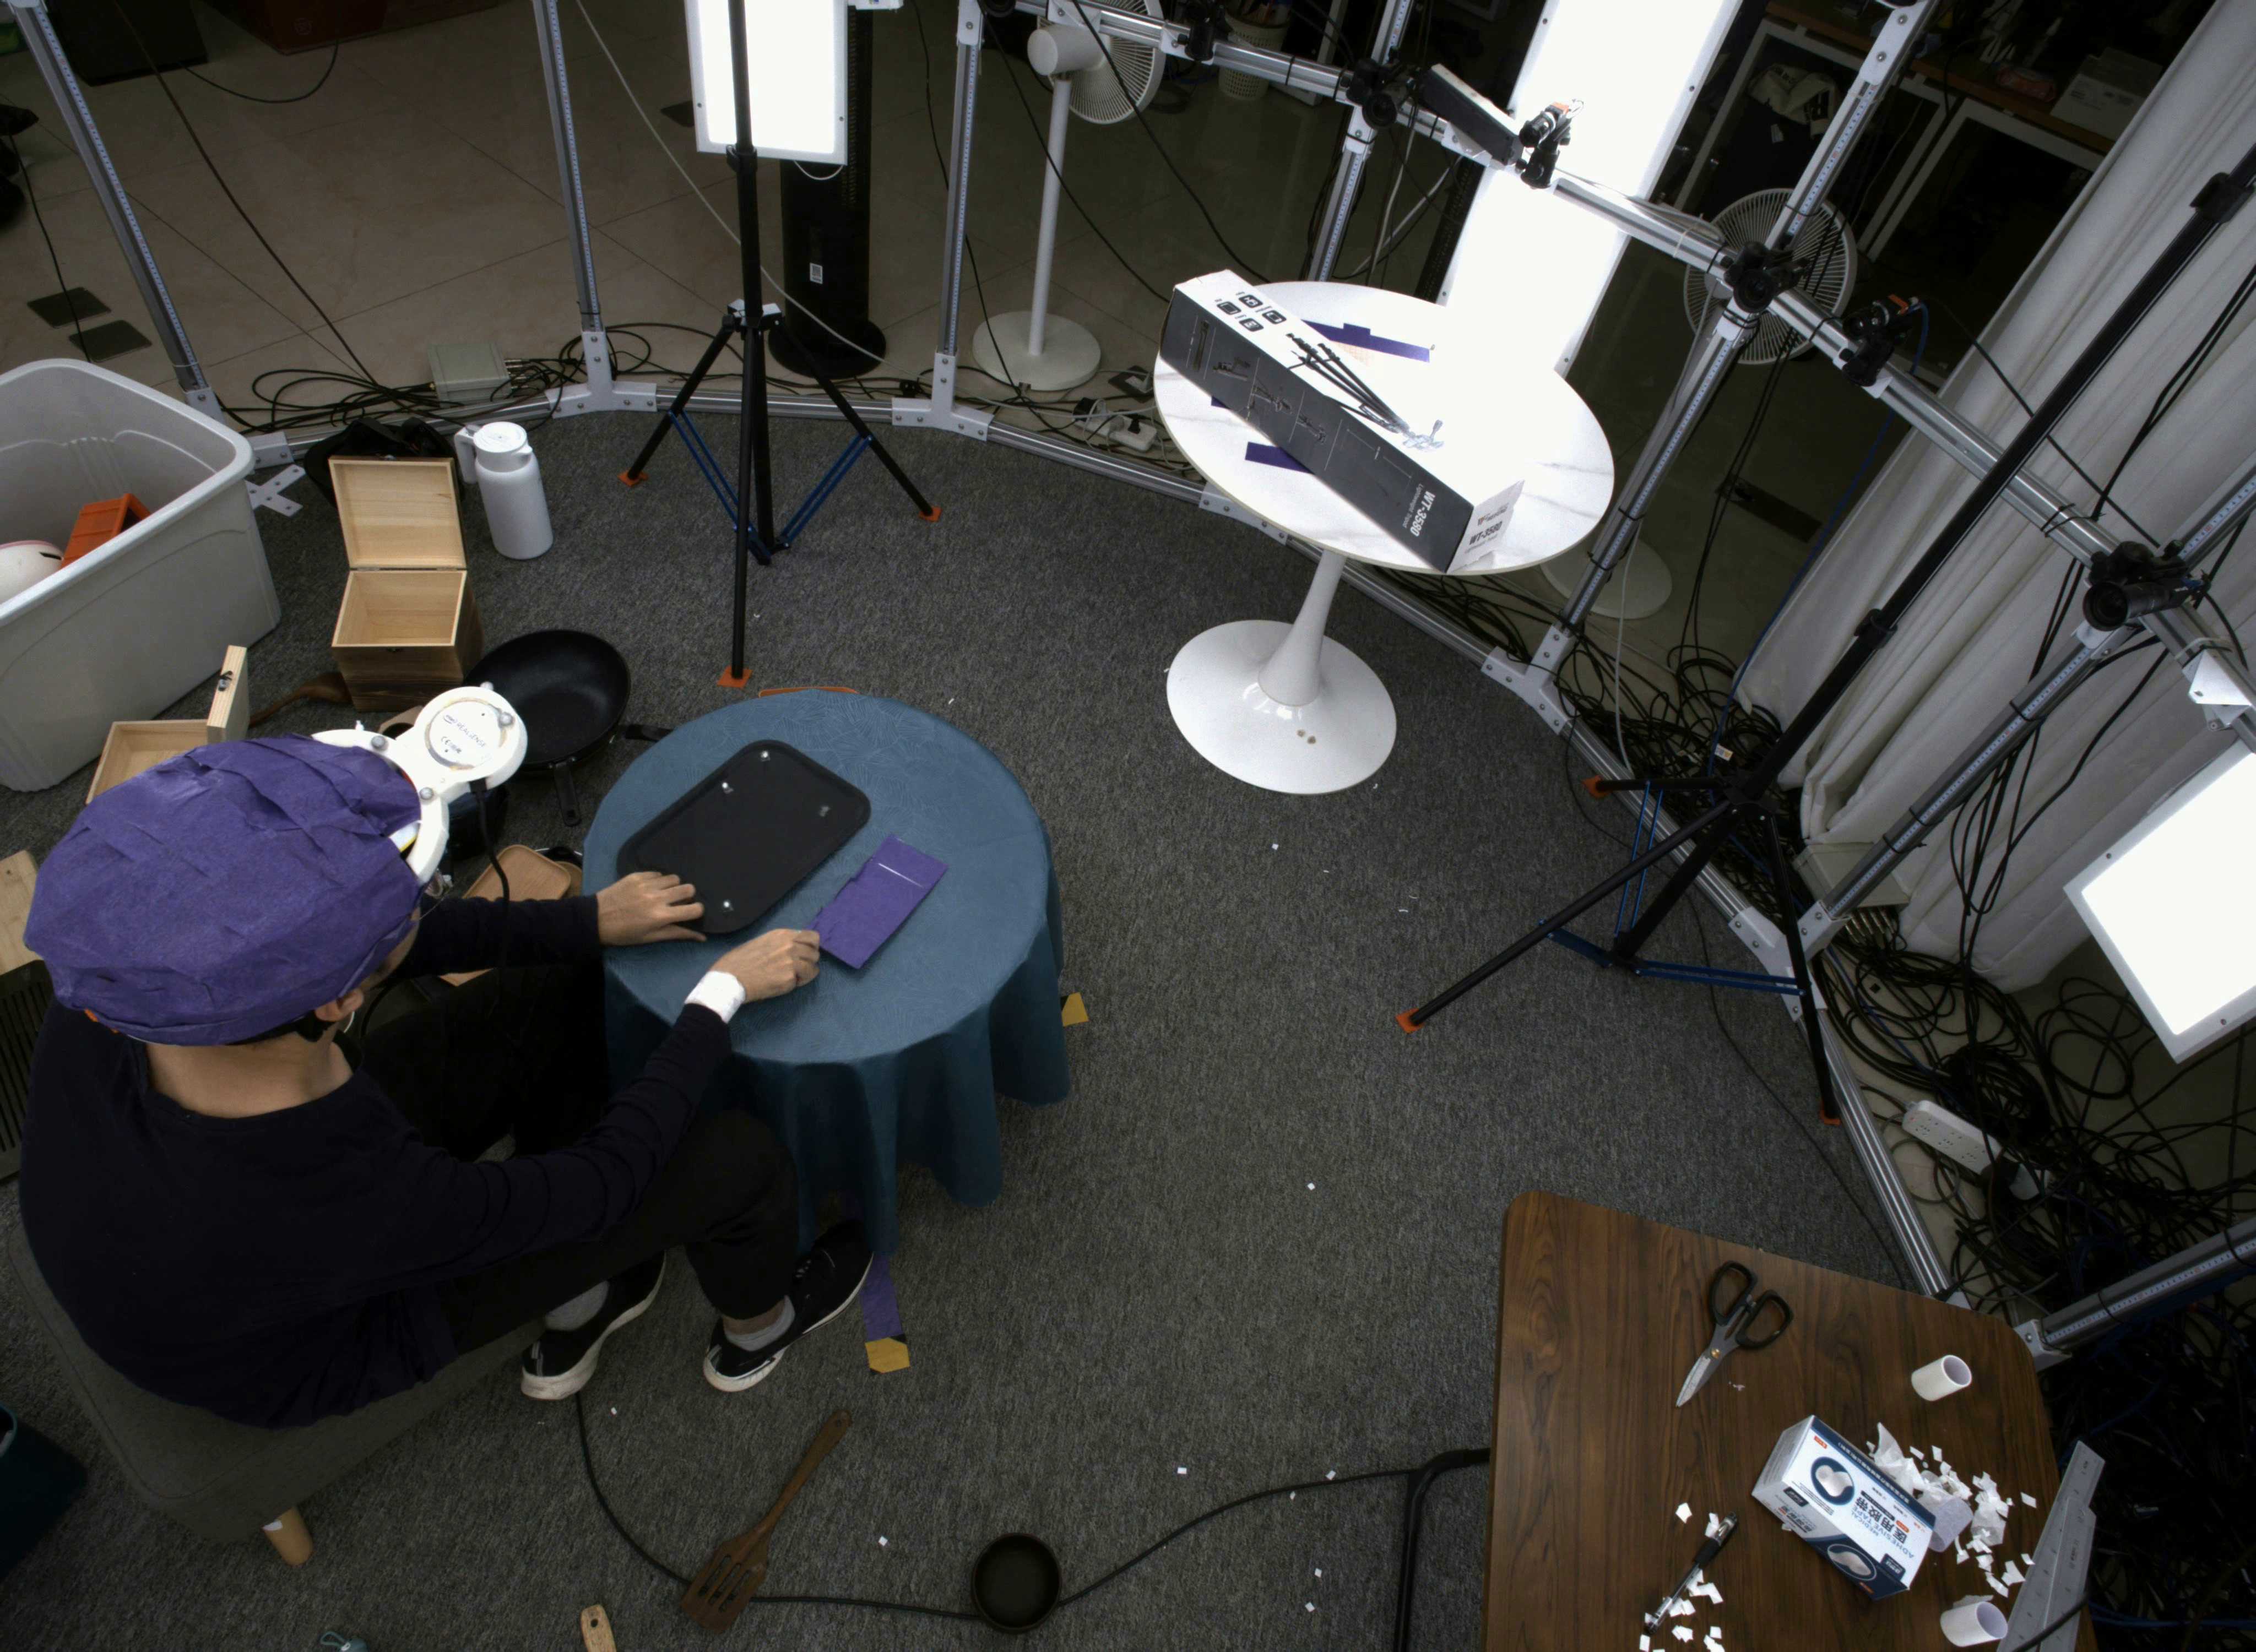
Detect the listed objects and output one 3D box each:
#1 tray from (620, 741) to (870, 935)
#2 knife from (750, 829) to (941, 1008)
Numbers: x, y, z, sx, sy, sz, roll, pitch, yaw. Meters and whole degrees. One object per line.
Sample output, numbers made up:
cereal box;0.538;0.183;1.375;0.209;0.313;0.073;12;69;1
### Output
tray;-0.501;0.010;1.689;0.207;0.010;0.325;32;49;11
knife;-0.347;0.120;1.641;0.102;0.033;0.314;29;50;7
